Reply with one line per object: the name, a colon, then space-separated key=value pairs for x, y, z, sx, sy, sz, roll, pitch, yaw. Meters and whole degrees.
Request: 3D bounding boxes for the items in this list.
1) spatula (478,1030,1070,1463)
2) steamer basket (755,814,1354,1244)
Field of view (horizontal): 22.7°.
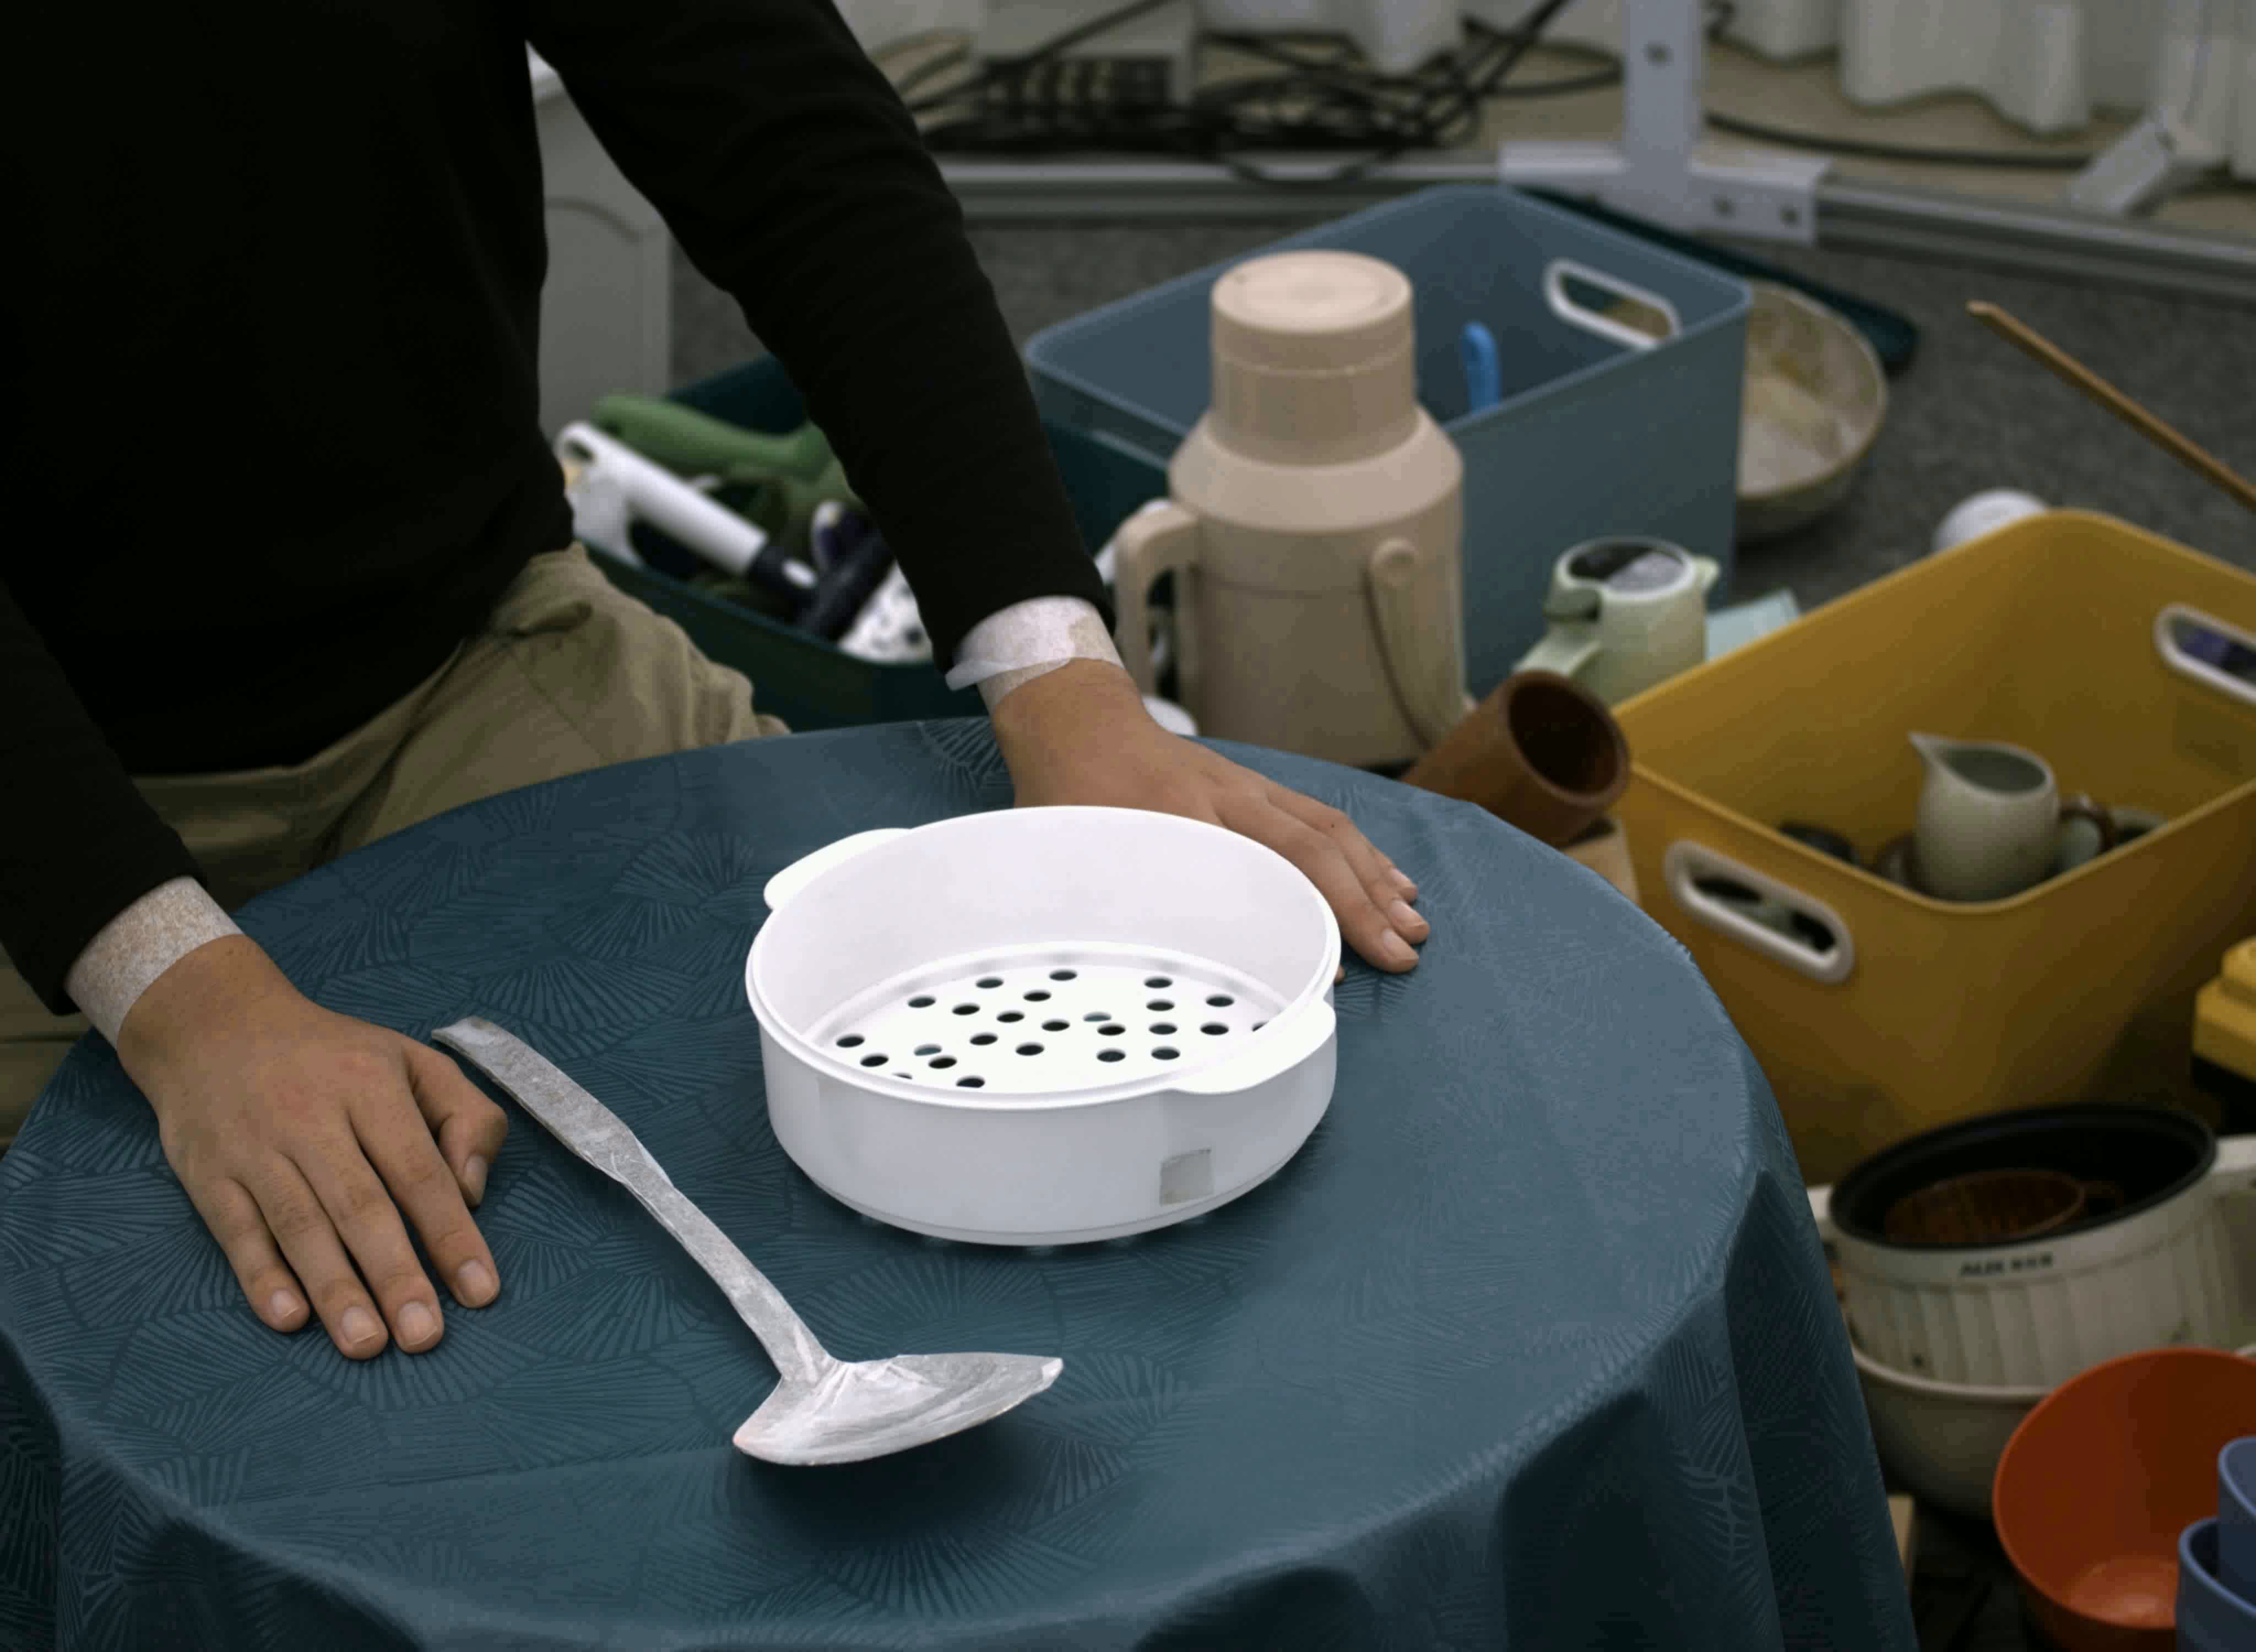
spatula: x=-0.139 y=0.127 z=1.823 sx=0.099 sy=0.044 sz=0.366 roll=-19 pitch=31 yaw=-24
steamer basket: x=-0.023 y=0.069 z=1.891 sx=0.230 sy=0.068 sz=0.204 roll=21 pitch=35 yaw=40
